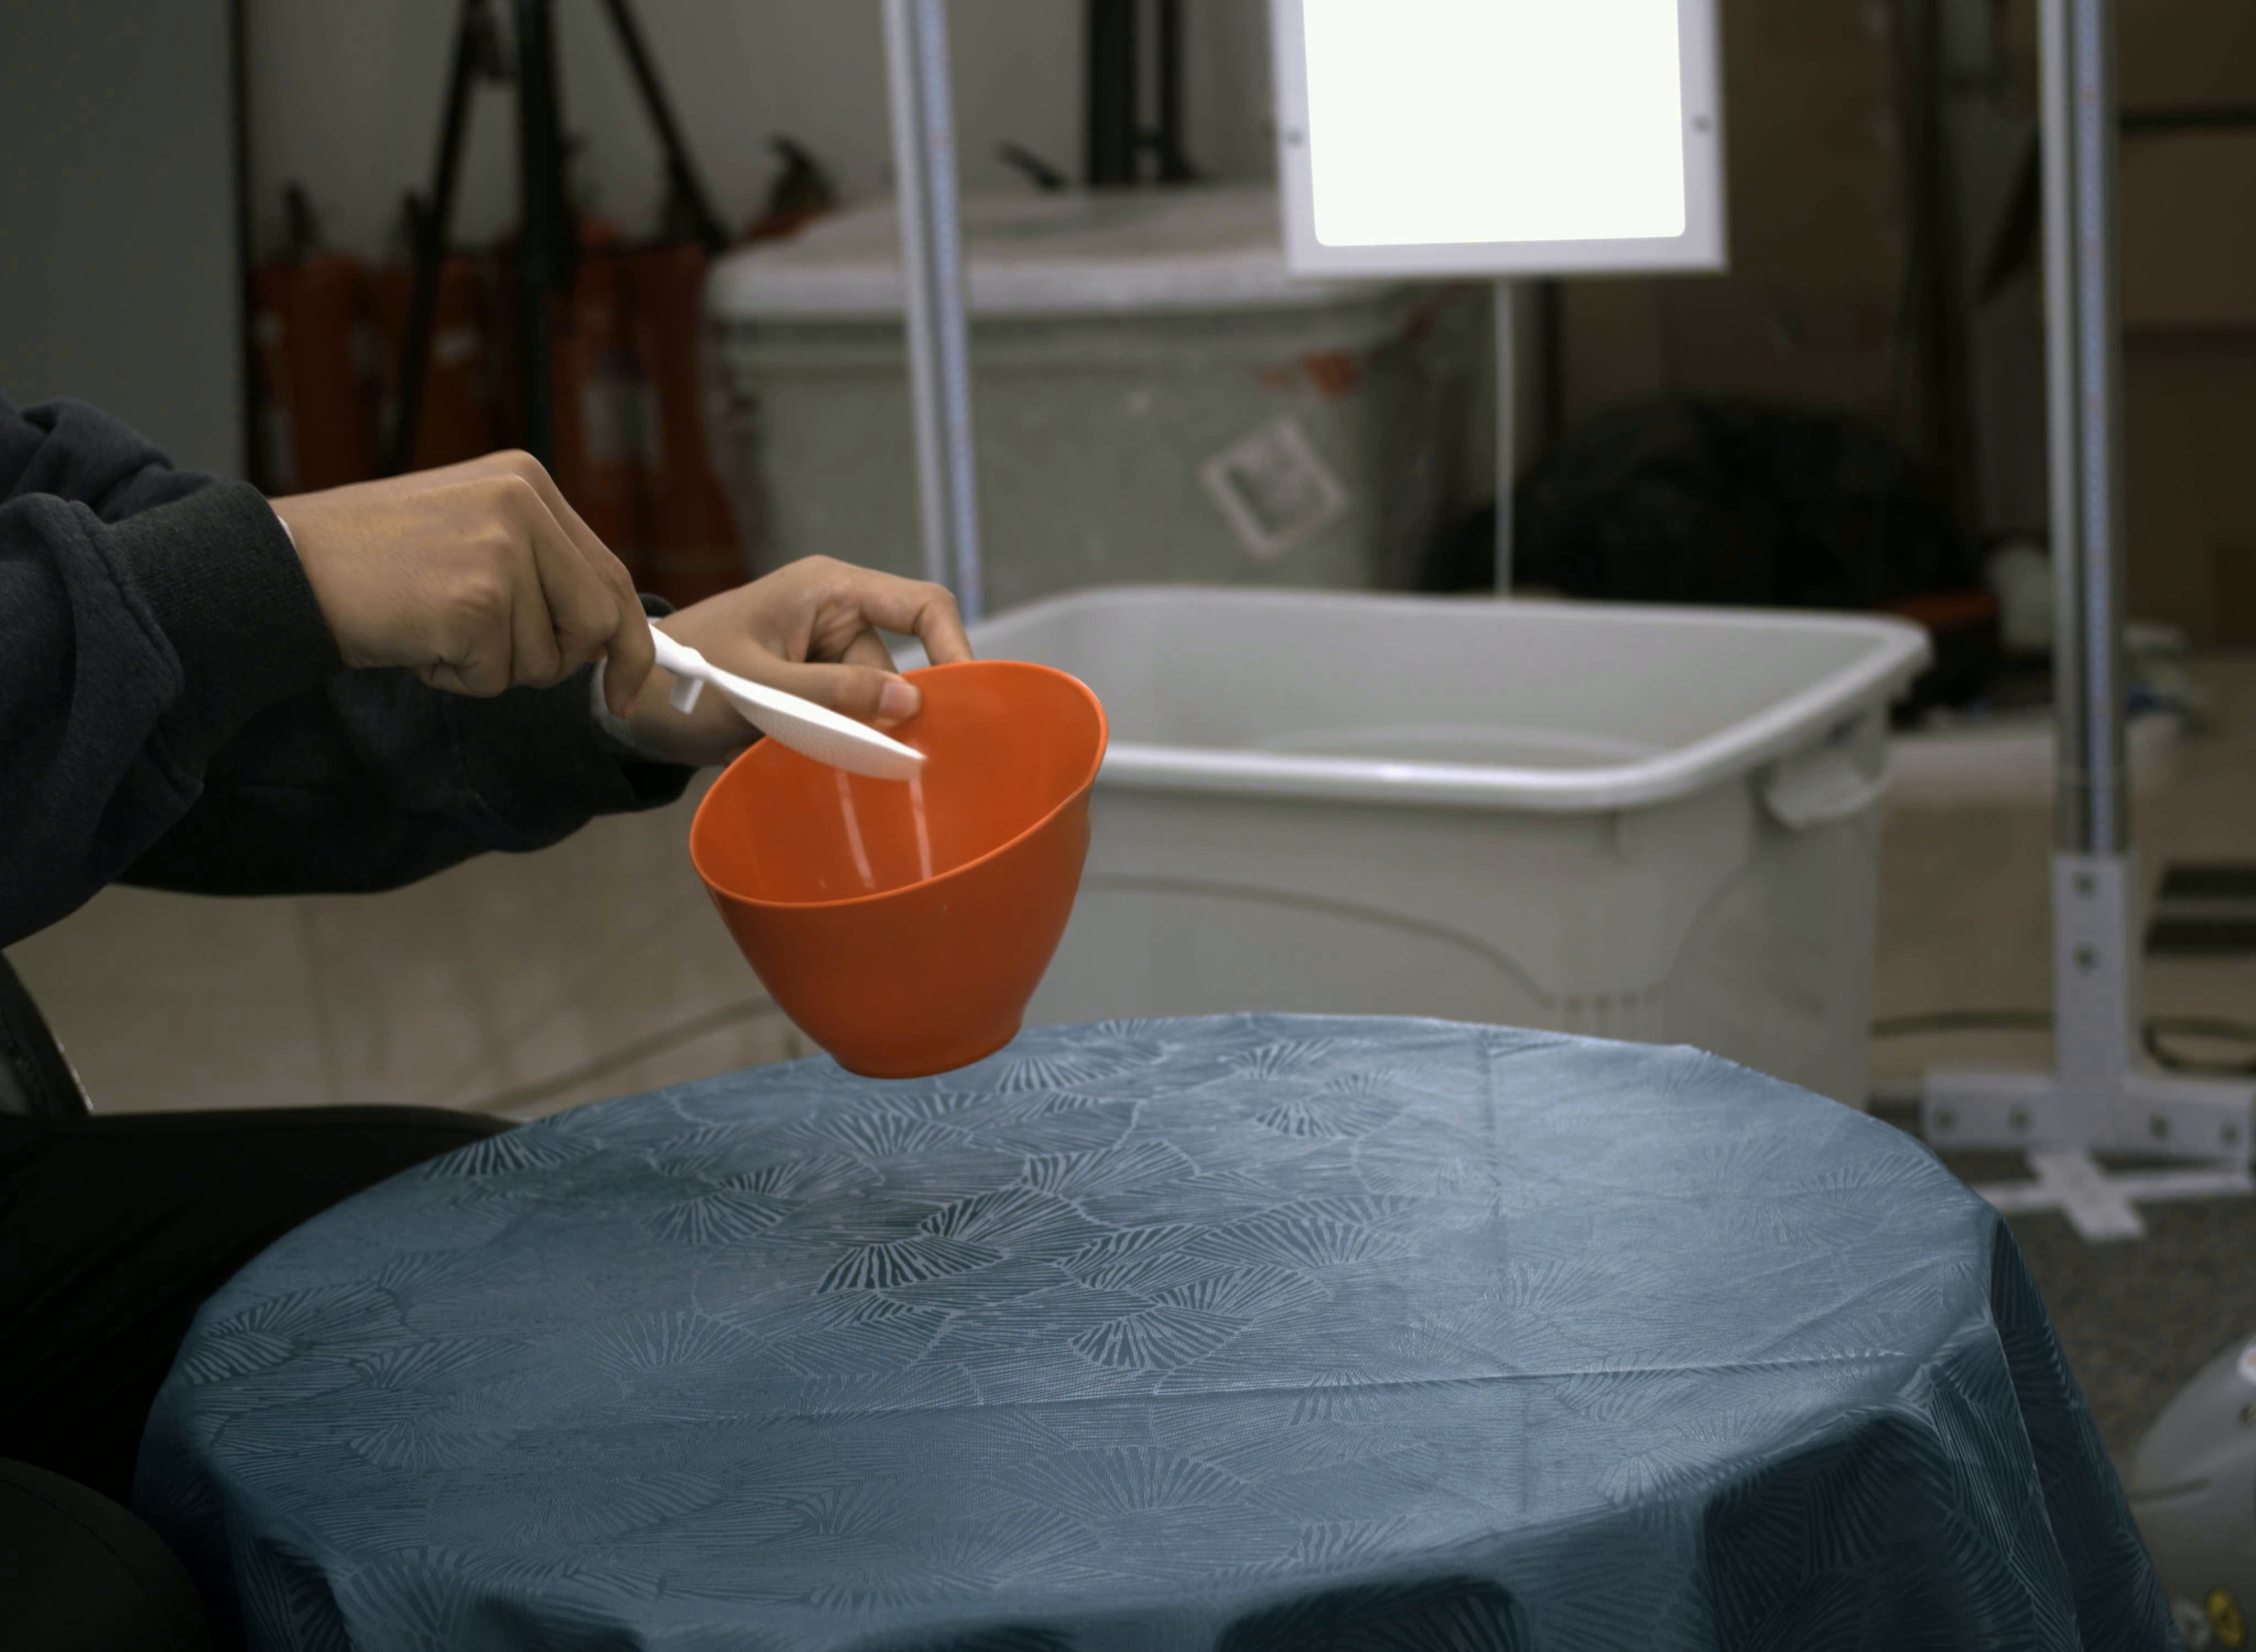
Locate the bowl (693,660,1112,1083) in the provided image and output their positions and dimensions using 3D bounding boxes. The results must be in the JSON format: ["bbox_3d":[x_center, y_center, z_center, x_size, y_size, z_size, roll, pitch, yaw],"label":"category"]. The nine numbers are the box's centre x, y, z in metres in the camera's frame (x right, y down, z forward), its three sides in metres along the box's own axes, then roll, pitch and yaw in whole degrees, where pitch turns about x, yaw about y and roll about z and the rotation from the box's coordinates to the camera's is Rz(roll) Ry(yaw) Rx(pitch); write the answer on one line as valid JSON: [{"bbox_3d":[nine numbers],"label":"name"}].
[{"bbox_3d":[-0.069,0.022,1.871,0.148,0.105,0.147,-11,24,3],"label":"bowl"}]

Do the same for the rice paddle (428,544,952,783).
[{"bbox_3d":[-0.139,-0.049,1.821,0.201,0.029,0.070,20,5,-36],"label":"rice paddle"}]
